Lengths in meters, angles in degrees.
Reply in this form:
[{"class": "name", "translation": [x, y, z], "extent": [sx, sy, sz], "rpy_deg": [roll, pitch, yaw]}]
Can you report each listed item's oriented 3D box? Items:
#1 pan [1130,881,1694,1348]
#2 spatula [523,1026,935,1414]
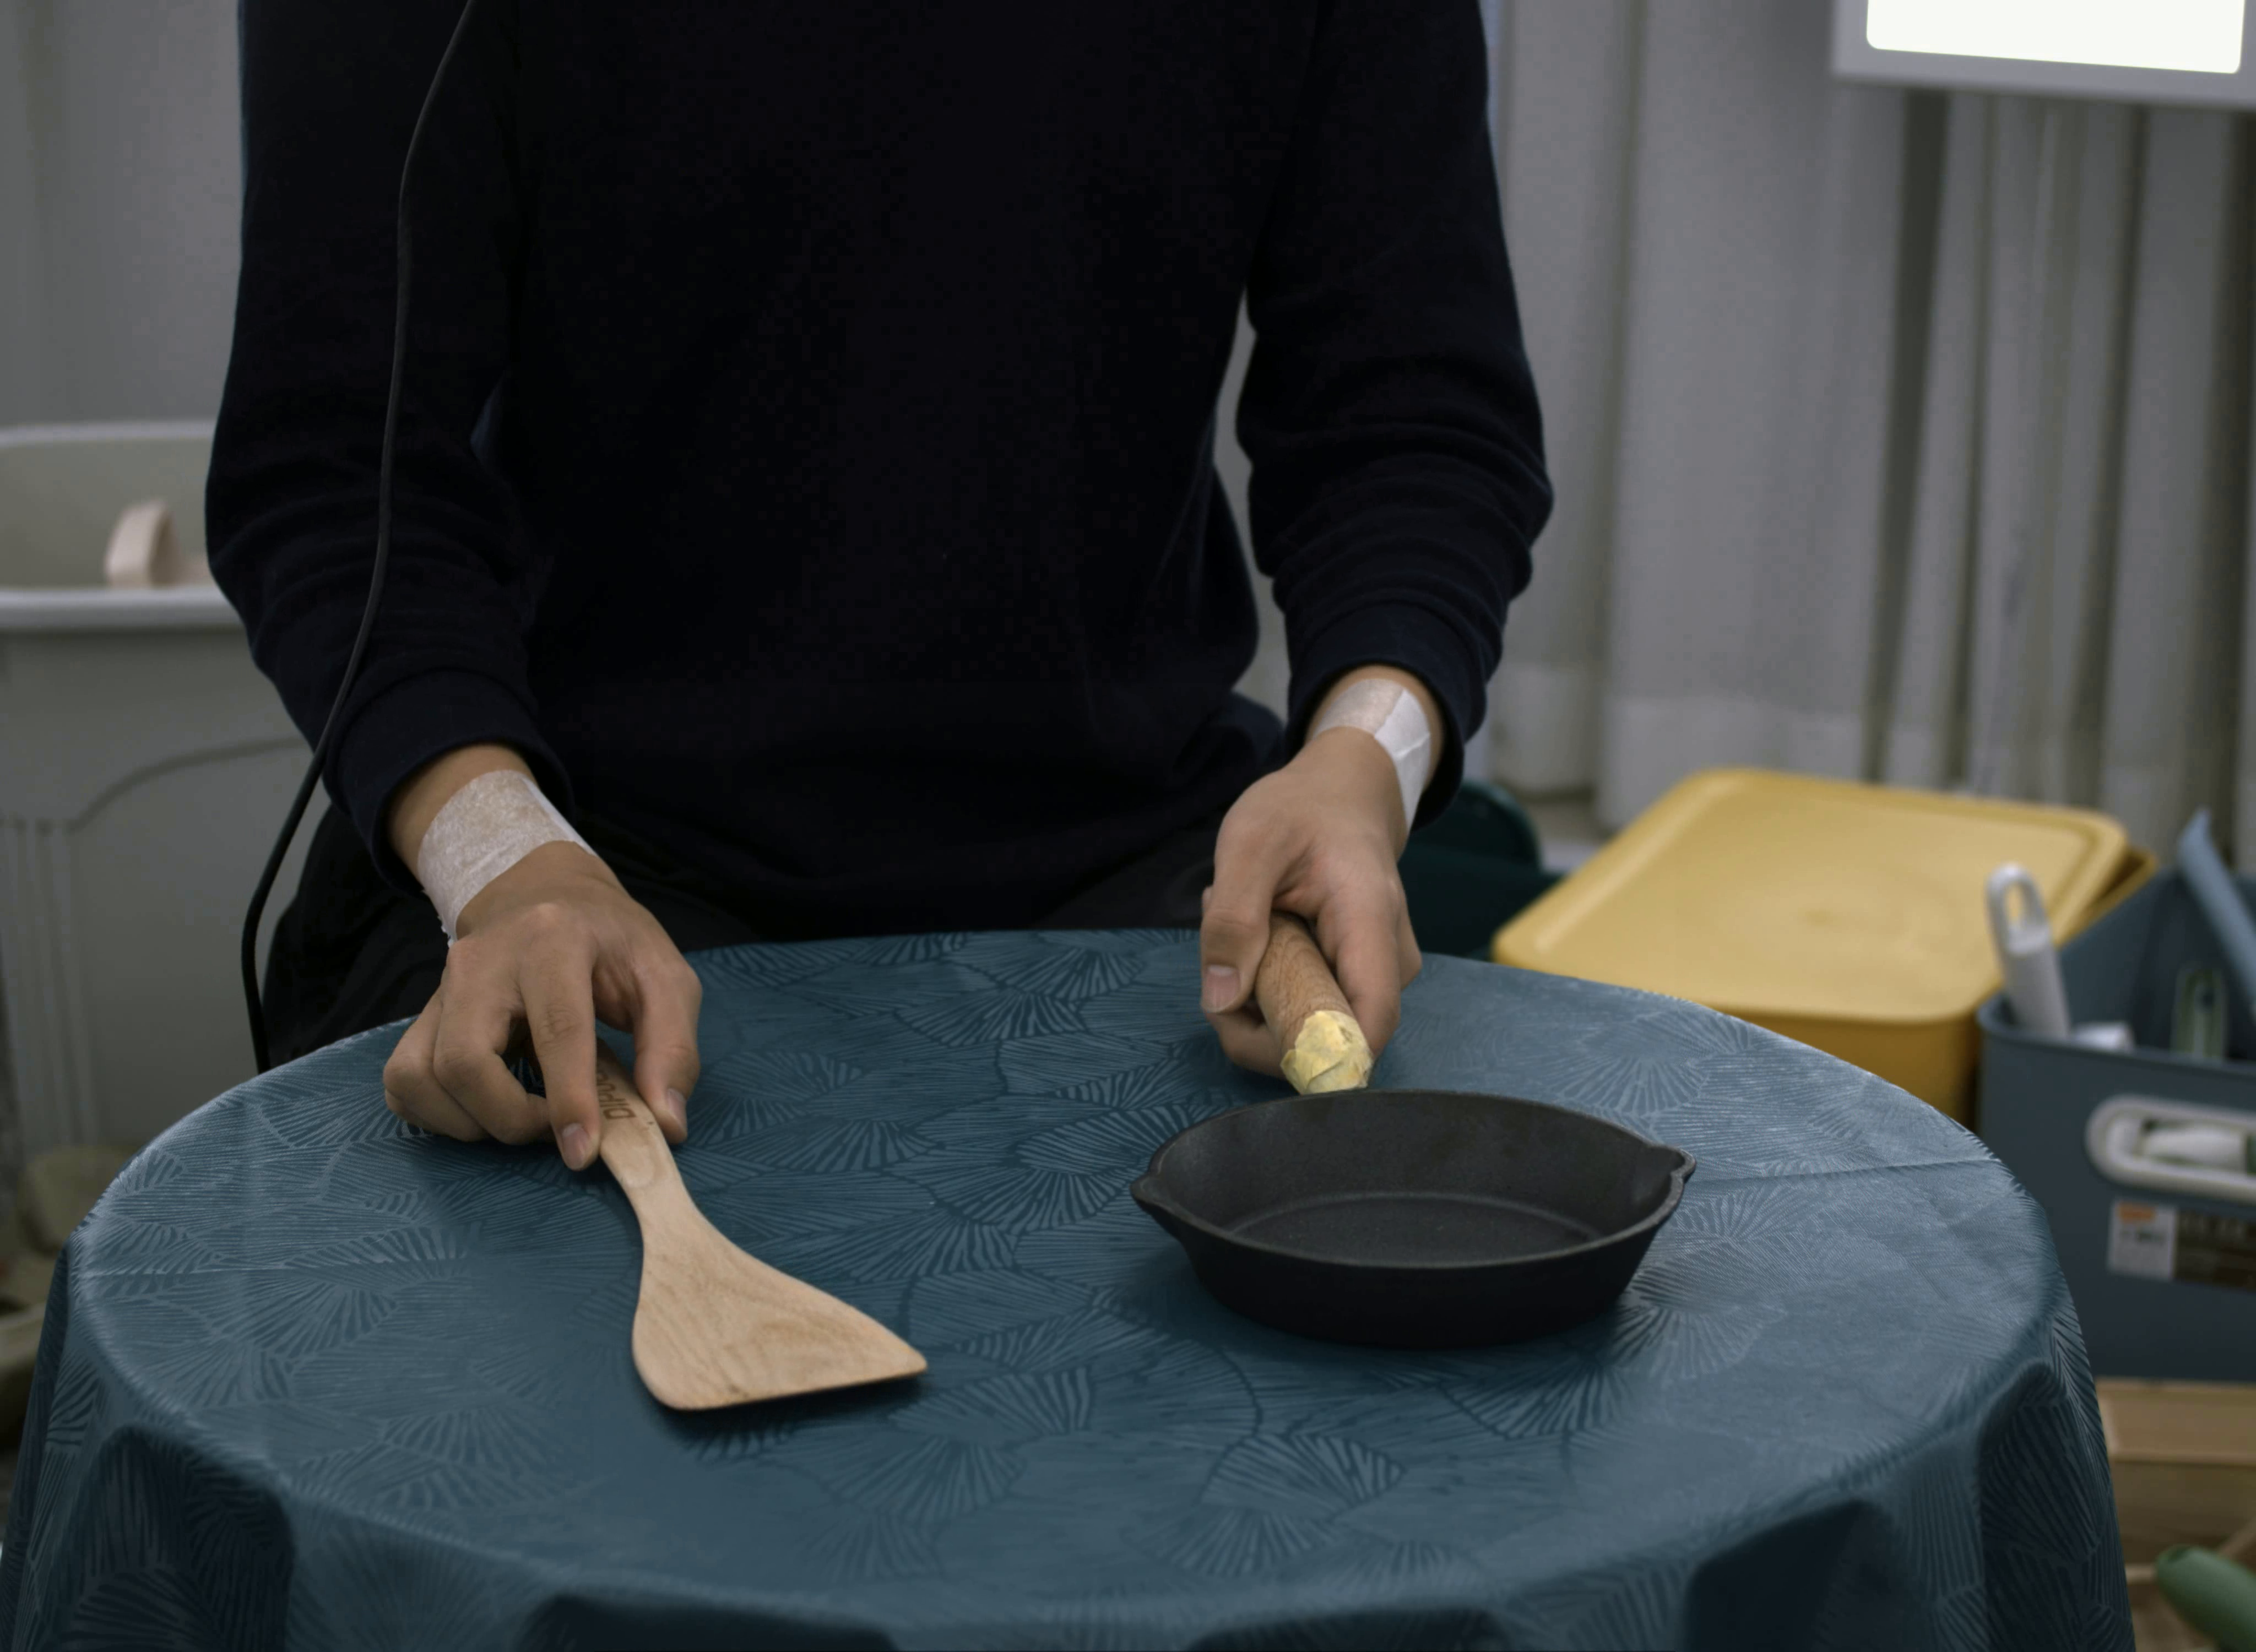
[{"class": "pan", "translation": [0.072, 0.086, 1.626], "extent": [0.169, 0.050, 0.321], "rpy_deg": [-2, 17, -8]}, {"class": "spatula", "translation": [-0.136, 0.113, 1.577], "extent": [0.080, 0.016, 0.324], "rpy_deg": [-3, 19, -18]}]
